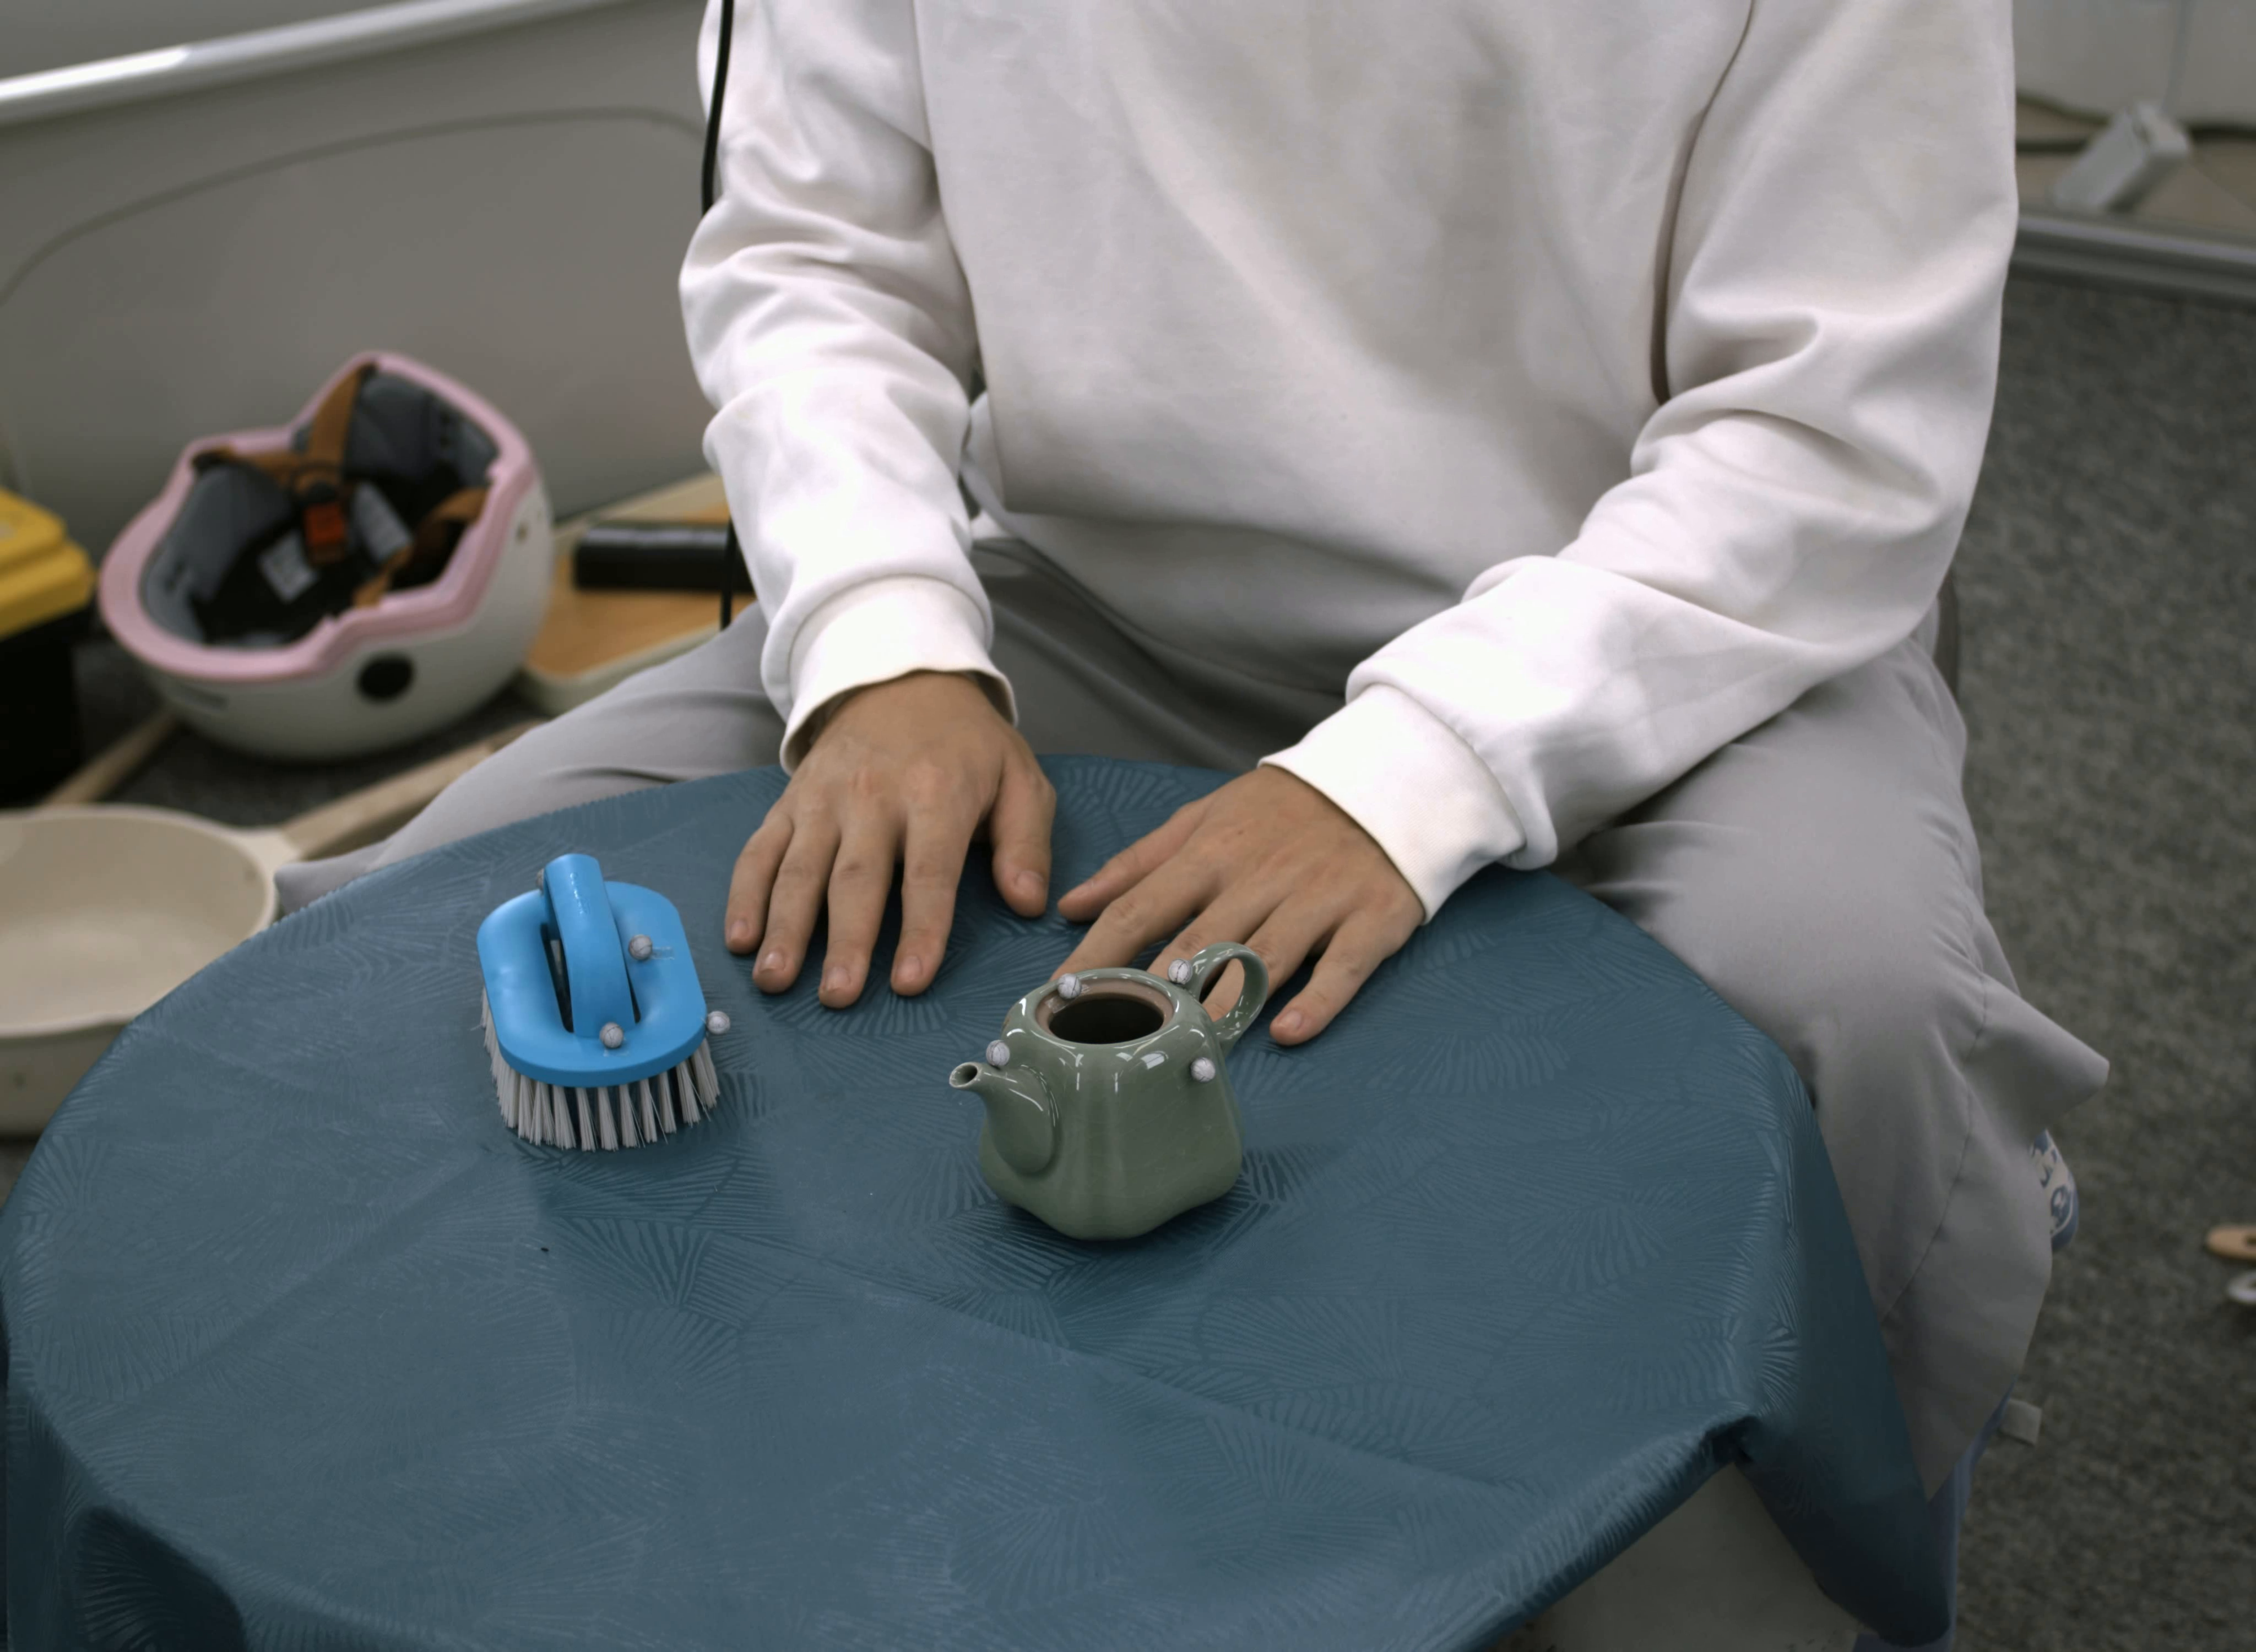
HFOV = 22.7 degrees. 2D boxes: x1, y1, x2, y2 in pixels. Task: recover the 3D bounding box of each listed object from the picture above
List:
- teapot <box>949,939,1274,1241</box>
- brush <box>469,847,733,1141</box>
[{"bbox_3d":[-0.005,0.089,1.850,0.134,0.074,0.080,-22,33,-34],"label":"teapot"},{"bbox_3d":[-0.187,0.050,1.949,0.084,0.063,0.143,-11,27,-6],"label":"brush"}]
